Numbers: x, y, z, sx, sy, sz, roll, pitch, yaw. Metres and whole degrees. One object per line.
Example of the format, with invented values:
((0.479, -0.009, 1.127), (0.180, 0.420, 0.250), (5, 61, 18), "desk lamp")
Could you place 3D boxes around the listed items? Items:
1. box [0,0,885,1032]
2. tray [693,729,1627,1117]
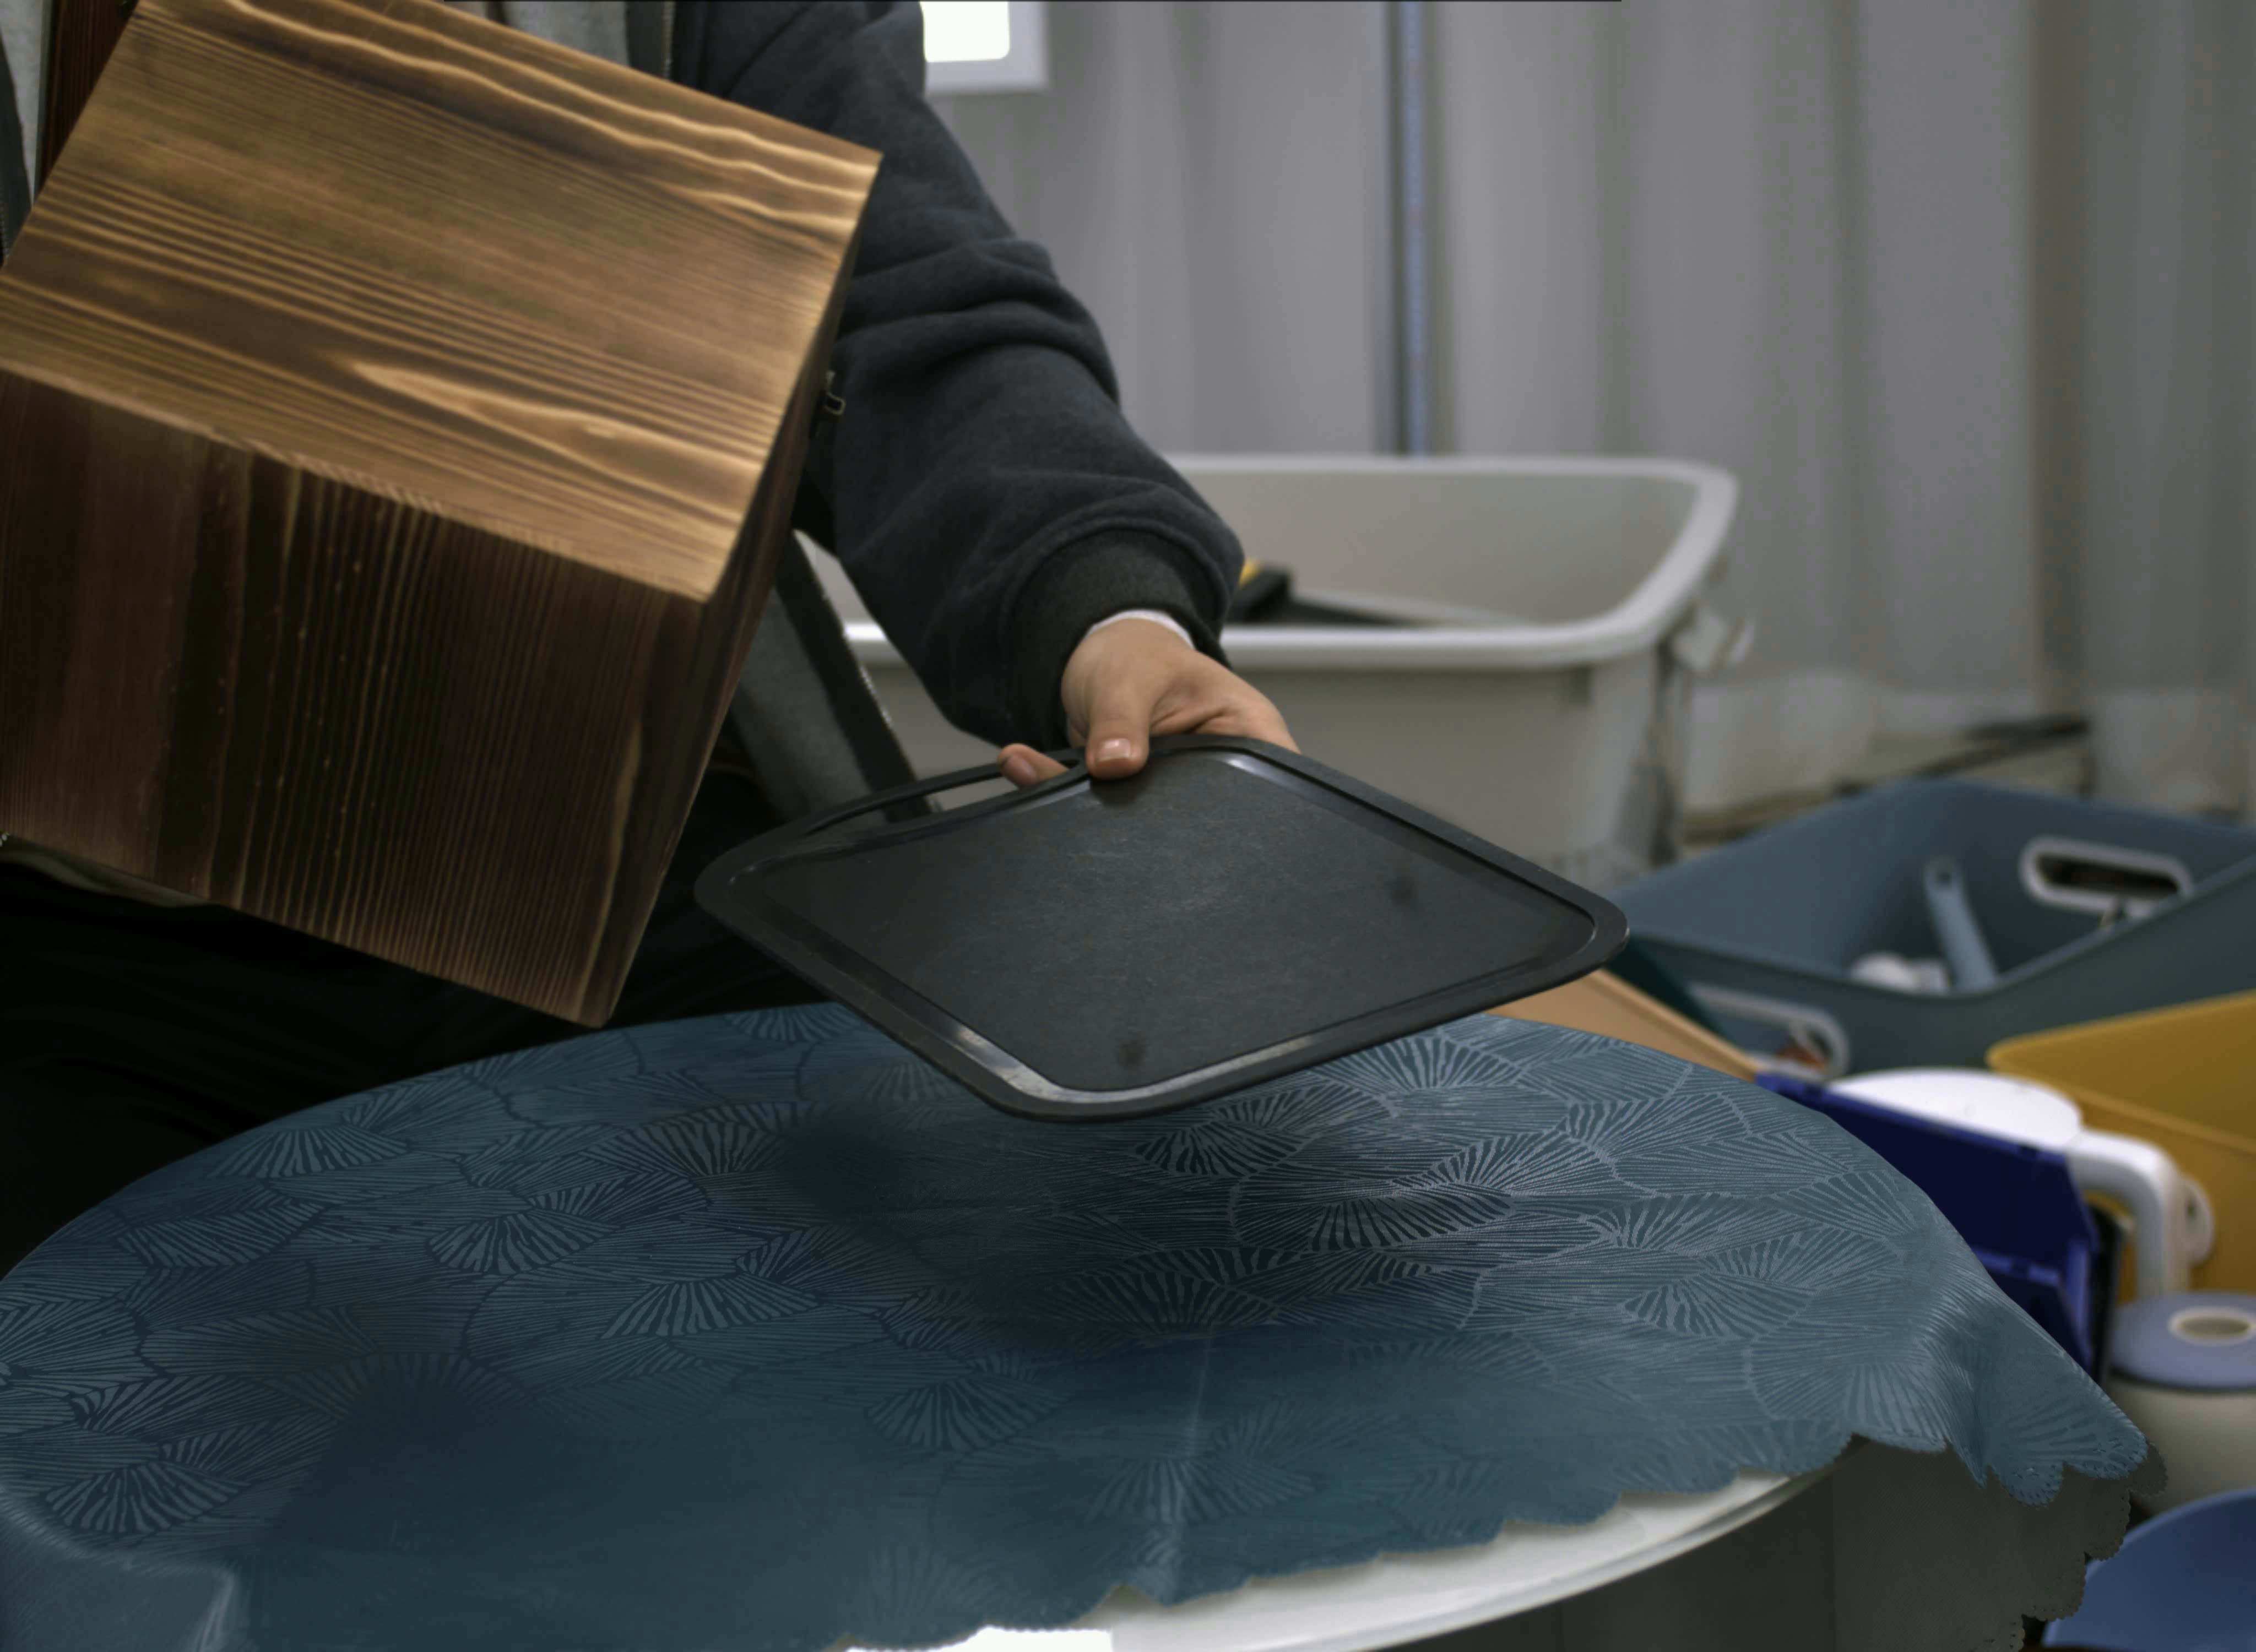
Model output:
((-0.227, -0.186, 1.571), (0.321, 0.206, 0.380), (18, 53, -1), "box")
((-0.001, 0.022, 1.708), (0.210, 0.010, 0.328), (-17, 21, -23), "tray")
